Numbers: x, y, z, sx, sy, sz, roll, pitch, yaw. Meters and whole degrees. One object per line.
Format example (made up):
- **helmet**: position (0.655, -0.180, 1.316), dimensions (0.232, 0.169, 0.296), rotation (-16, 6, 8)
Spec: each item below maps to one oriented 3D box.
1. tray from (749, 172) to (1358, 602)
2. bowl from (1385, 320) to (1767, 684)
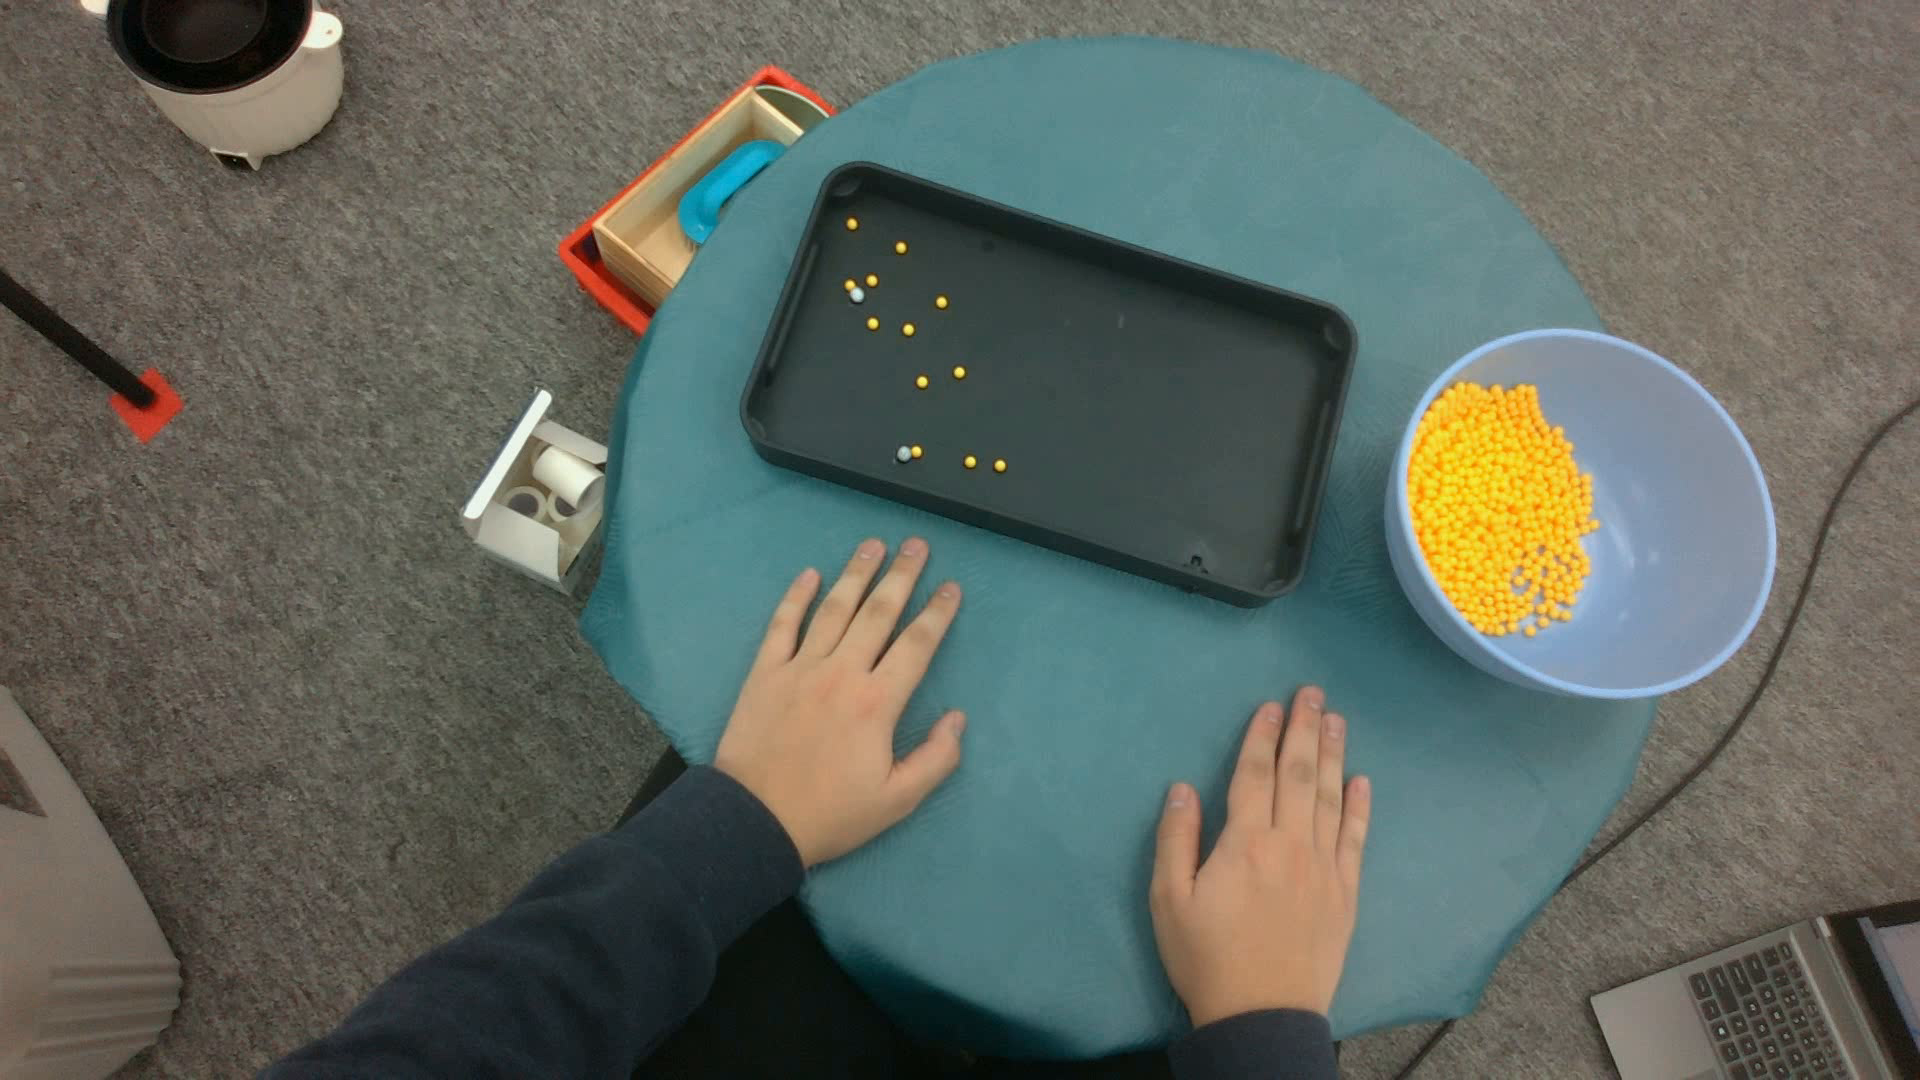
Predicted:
- **tray**: position (0.056, -0.088, 0.783), dimensions (0.318, 0.037, 0.185), rotation (16, 72, 1)
- **bowl**: position (0.316, -0.010, 0.749), dimensions (0.196, 0.095, 0.197), rotation (1, 73, -5)
